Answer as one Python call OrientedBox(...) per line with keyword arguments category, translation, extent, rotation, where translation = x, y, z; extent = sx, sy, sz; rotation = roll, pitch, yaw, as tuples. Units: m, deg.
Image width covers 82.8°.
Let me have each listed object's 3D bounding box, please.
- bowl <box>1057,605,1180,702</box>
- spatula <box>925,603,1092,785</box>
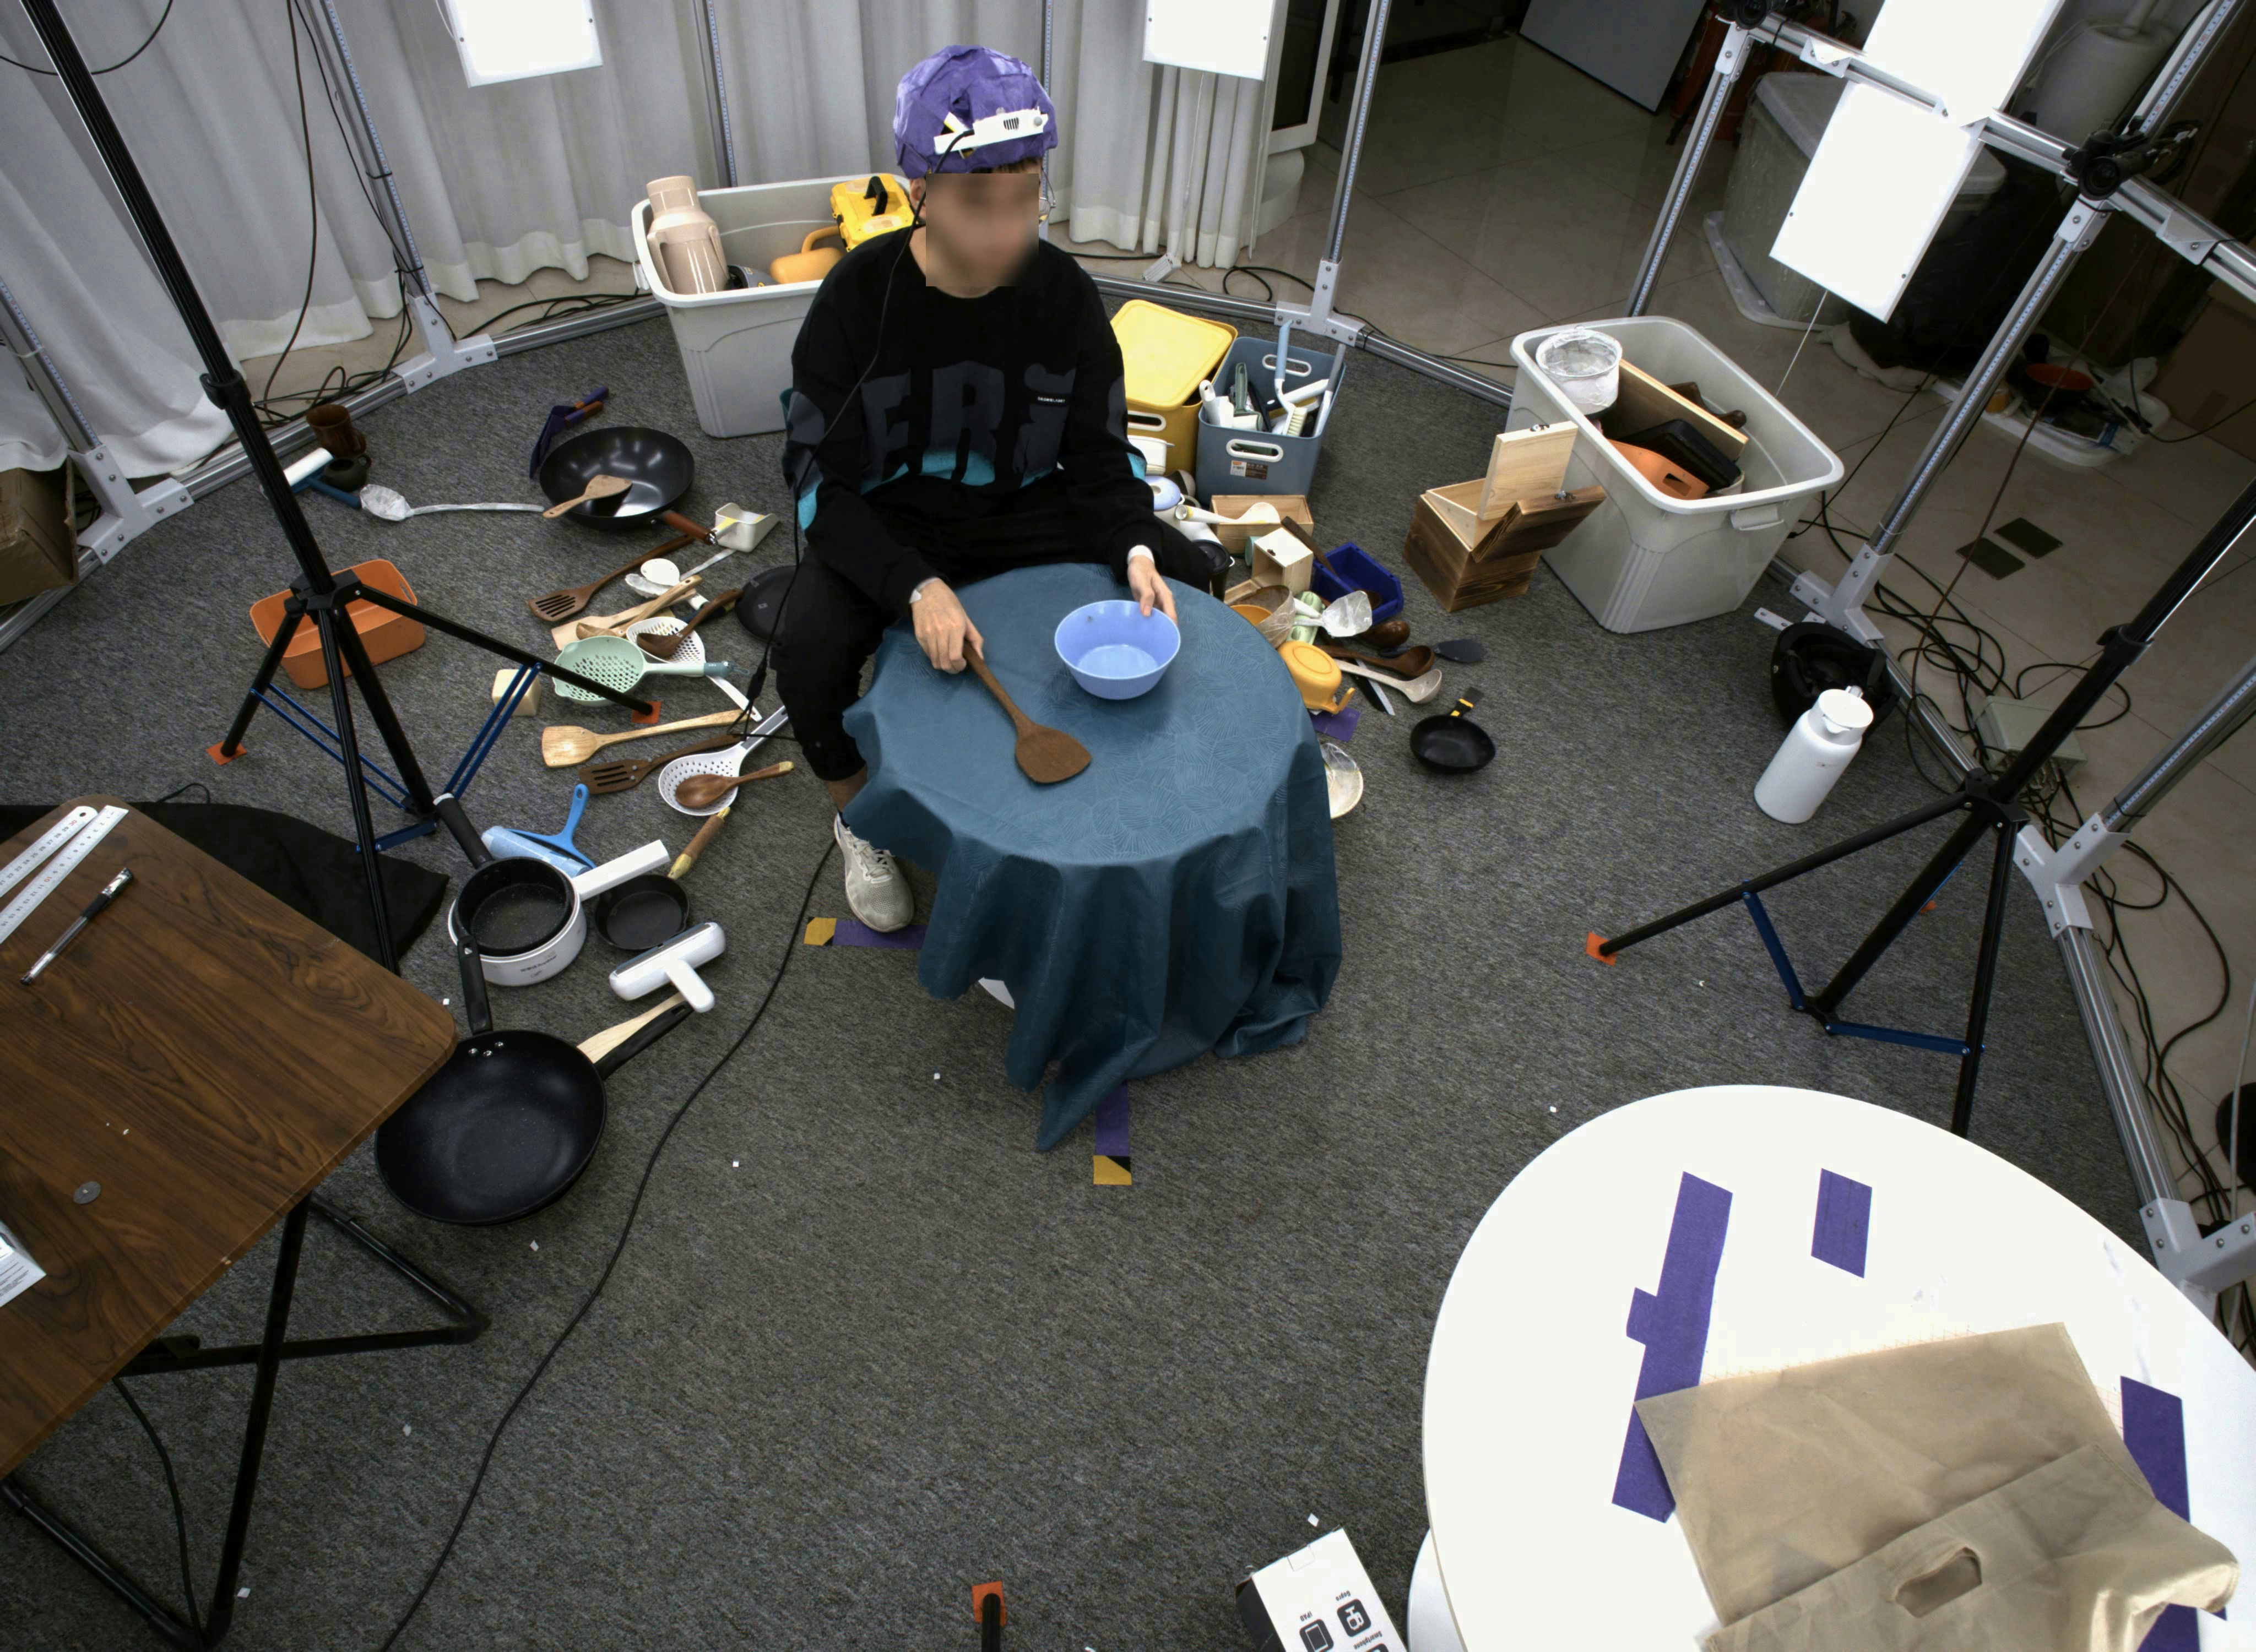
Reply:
OrientedBox(category="bowl", translation=(-0.013, -0.239, 1.839), extent=(0.176, 0.068, 0.180), rotation=(0, 44, 0))
OrientedBox(category="spatula", translation=(-0.187, -0.197, 1.822), extent=(0.096, 0.015, 0.393), rotation=(-25, 59, -25))
